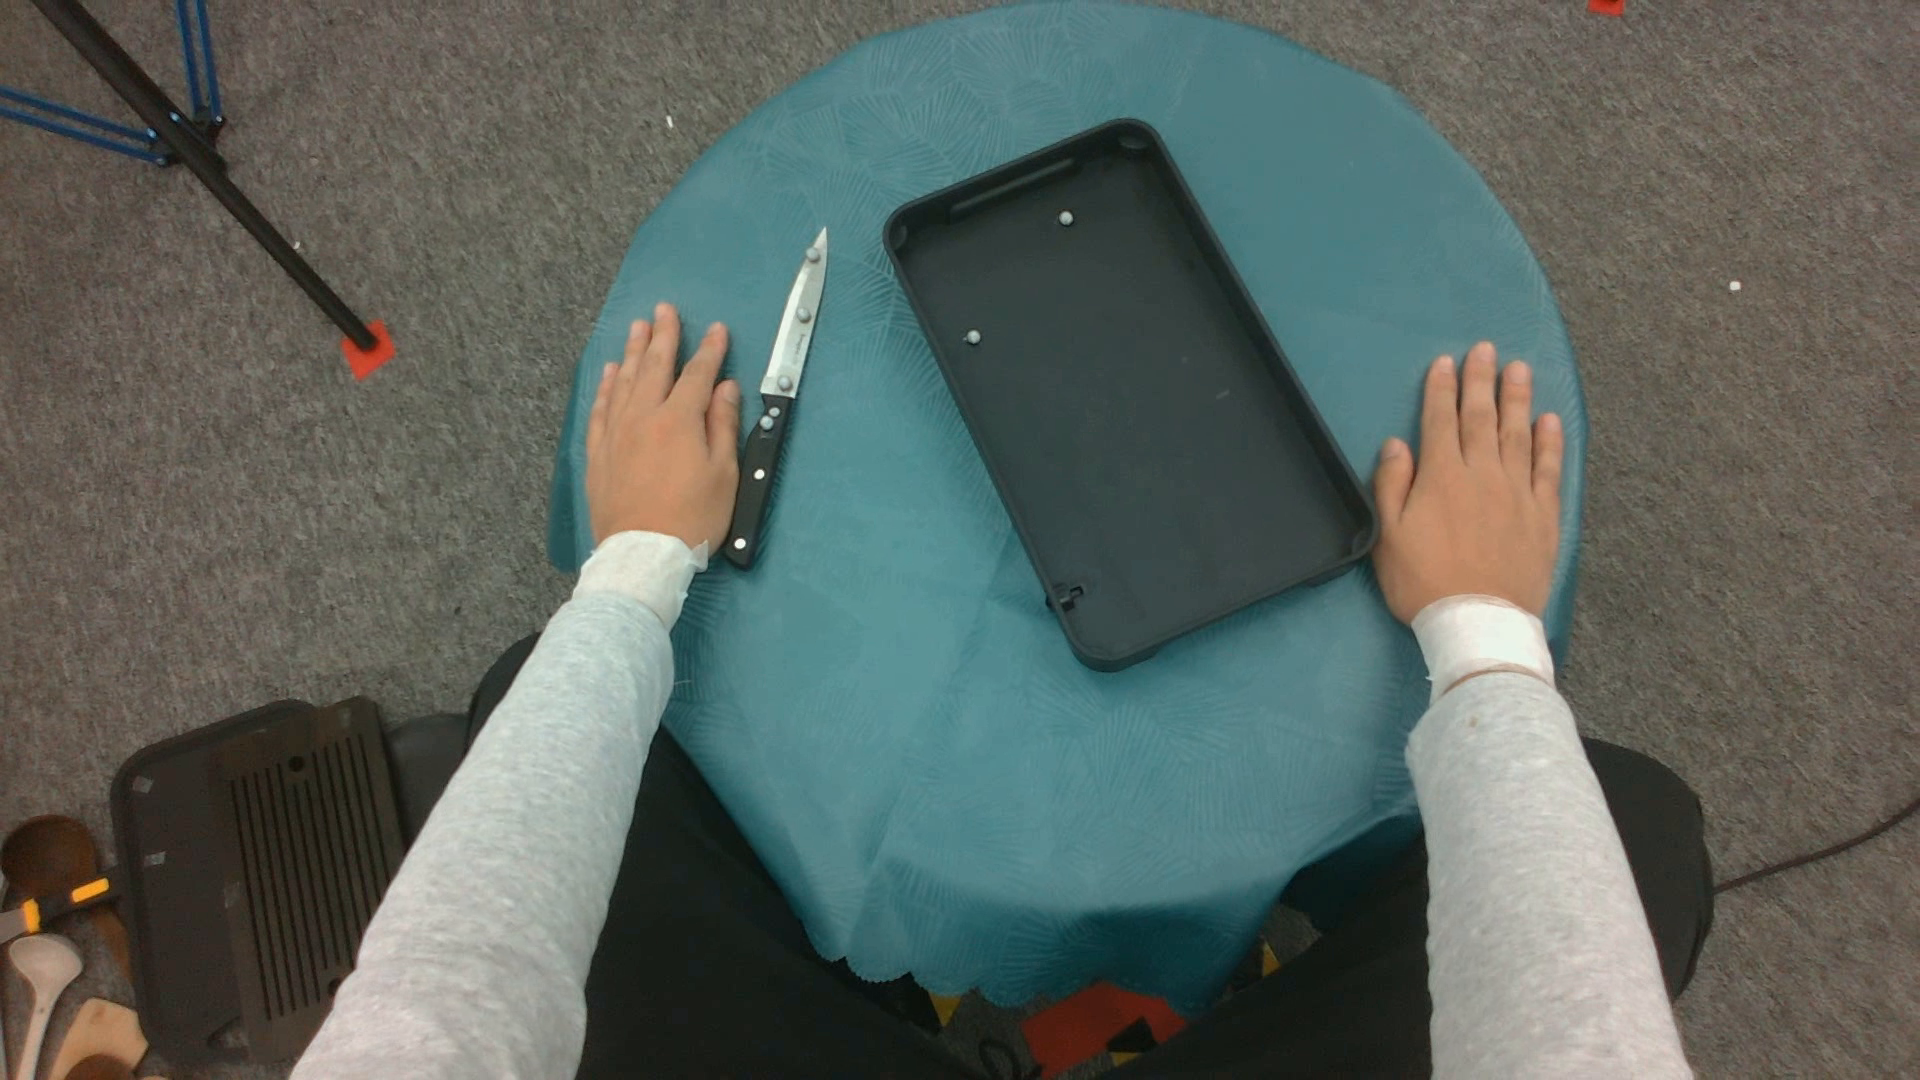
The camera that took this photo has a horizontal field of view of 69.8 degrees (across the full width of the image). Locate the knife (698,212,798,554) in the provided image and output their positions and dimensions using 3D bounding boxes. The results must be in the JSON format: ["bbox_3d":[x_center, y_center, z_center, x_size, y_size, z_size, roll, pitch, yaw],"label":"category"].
[{"bbox_3d":[-0.122,-0.101,0.831,0.024,0.016,0.239,7,67,5],"label":"knife"}]

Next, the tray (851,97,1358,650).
[{"bbox_3d":[0.077,-0.105,0.808,0.184,0.037,0.318,-24,70,-5],"label":"tray"}]
